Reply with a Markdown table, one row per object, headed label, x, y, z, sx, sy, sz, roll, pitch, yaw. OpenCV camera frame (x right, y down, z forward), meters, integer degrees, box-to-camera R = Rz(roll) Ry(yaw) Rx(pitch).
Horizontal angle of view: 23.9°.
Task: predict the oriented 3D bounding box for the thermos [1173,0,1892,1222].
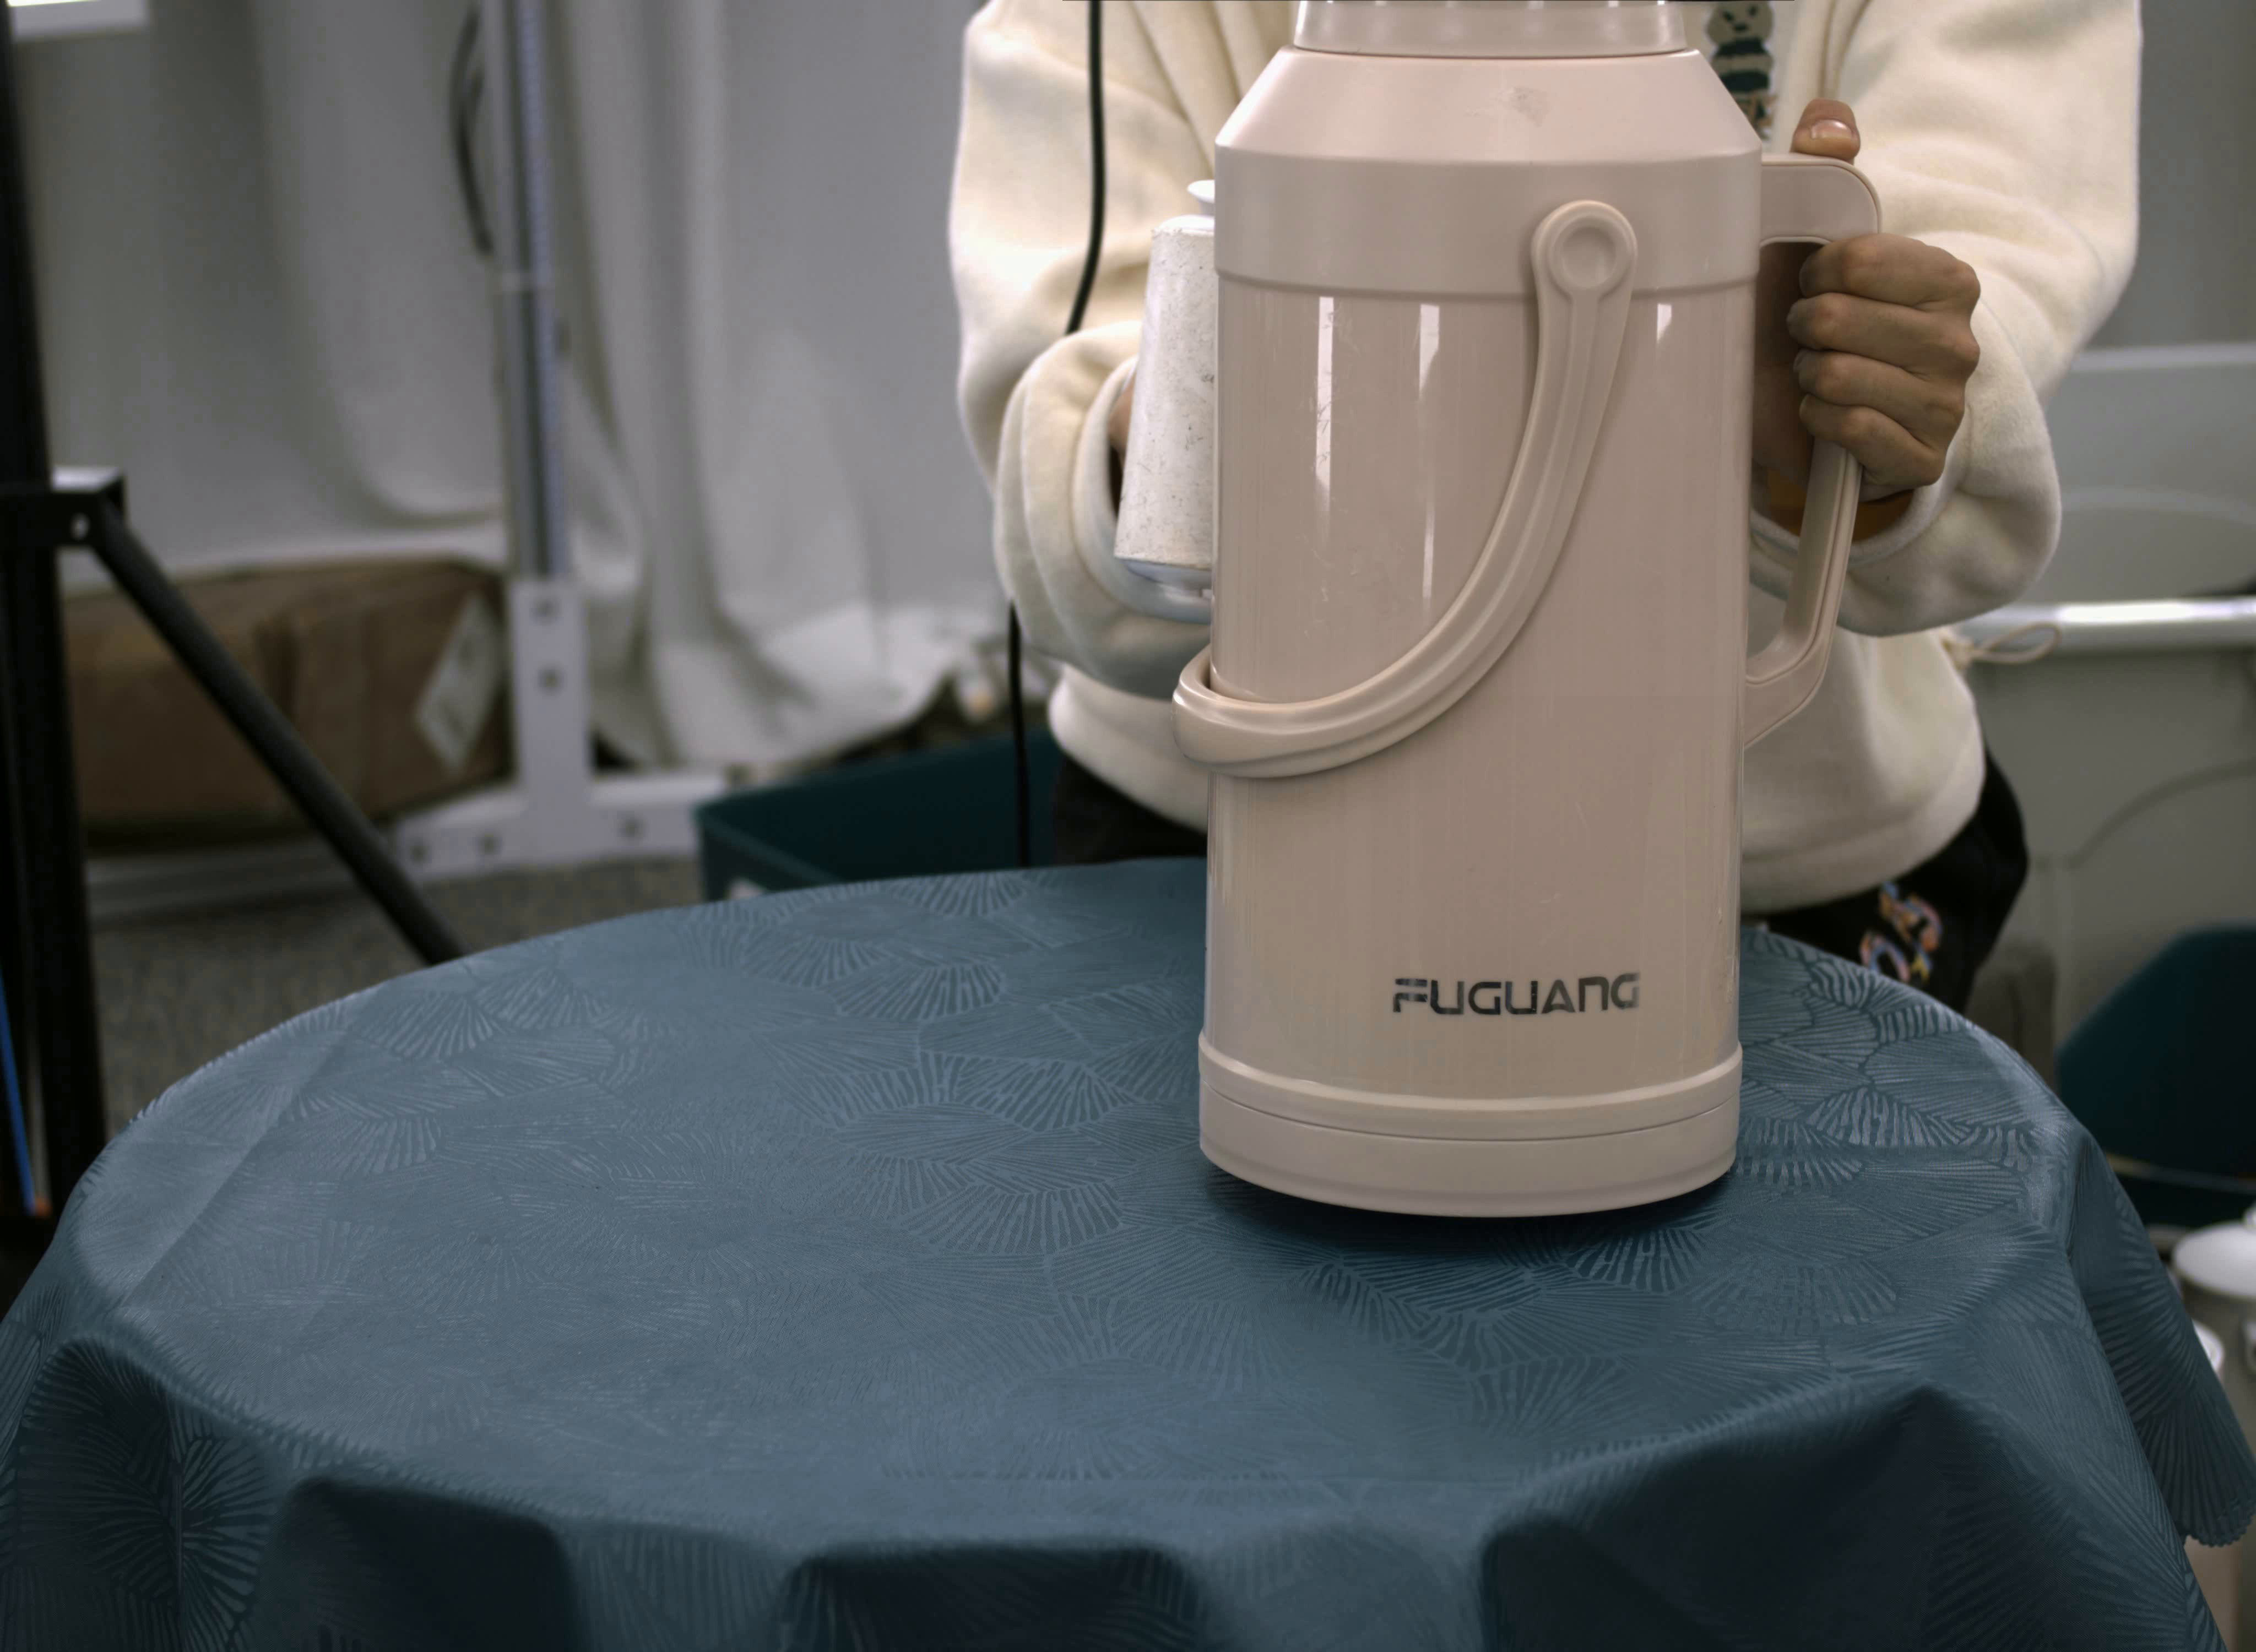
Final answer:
| label | x | y | z | sx | sy | sz | roll | pitch | yaw |
| --- | --- | --- | --- | --- | --- | --- | --- | --- | --- |
| thermos | 0.117 | -0.099 | 1.526 | 0.204 | 0.407 | 0.177 | -2 | 10 | -13 |

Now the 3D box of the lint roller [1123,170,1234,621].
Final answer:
| label | x | y | z | sx | sy | sz | roll | pitch | yaw |
| --- | --- | --- | --- | --- | --- | --- | --- | --- | --- |
| lint roller | 0.020 | -0.135 | 1.655 | 0.049 | 0.133 | 0.182 | 6 | 5 | -8 |
